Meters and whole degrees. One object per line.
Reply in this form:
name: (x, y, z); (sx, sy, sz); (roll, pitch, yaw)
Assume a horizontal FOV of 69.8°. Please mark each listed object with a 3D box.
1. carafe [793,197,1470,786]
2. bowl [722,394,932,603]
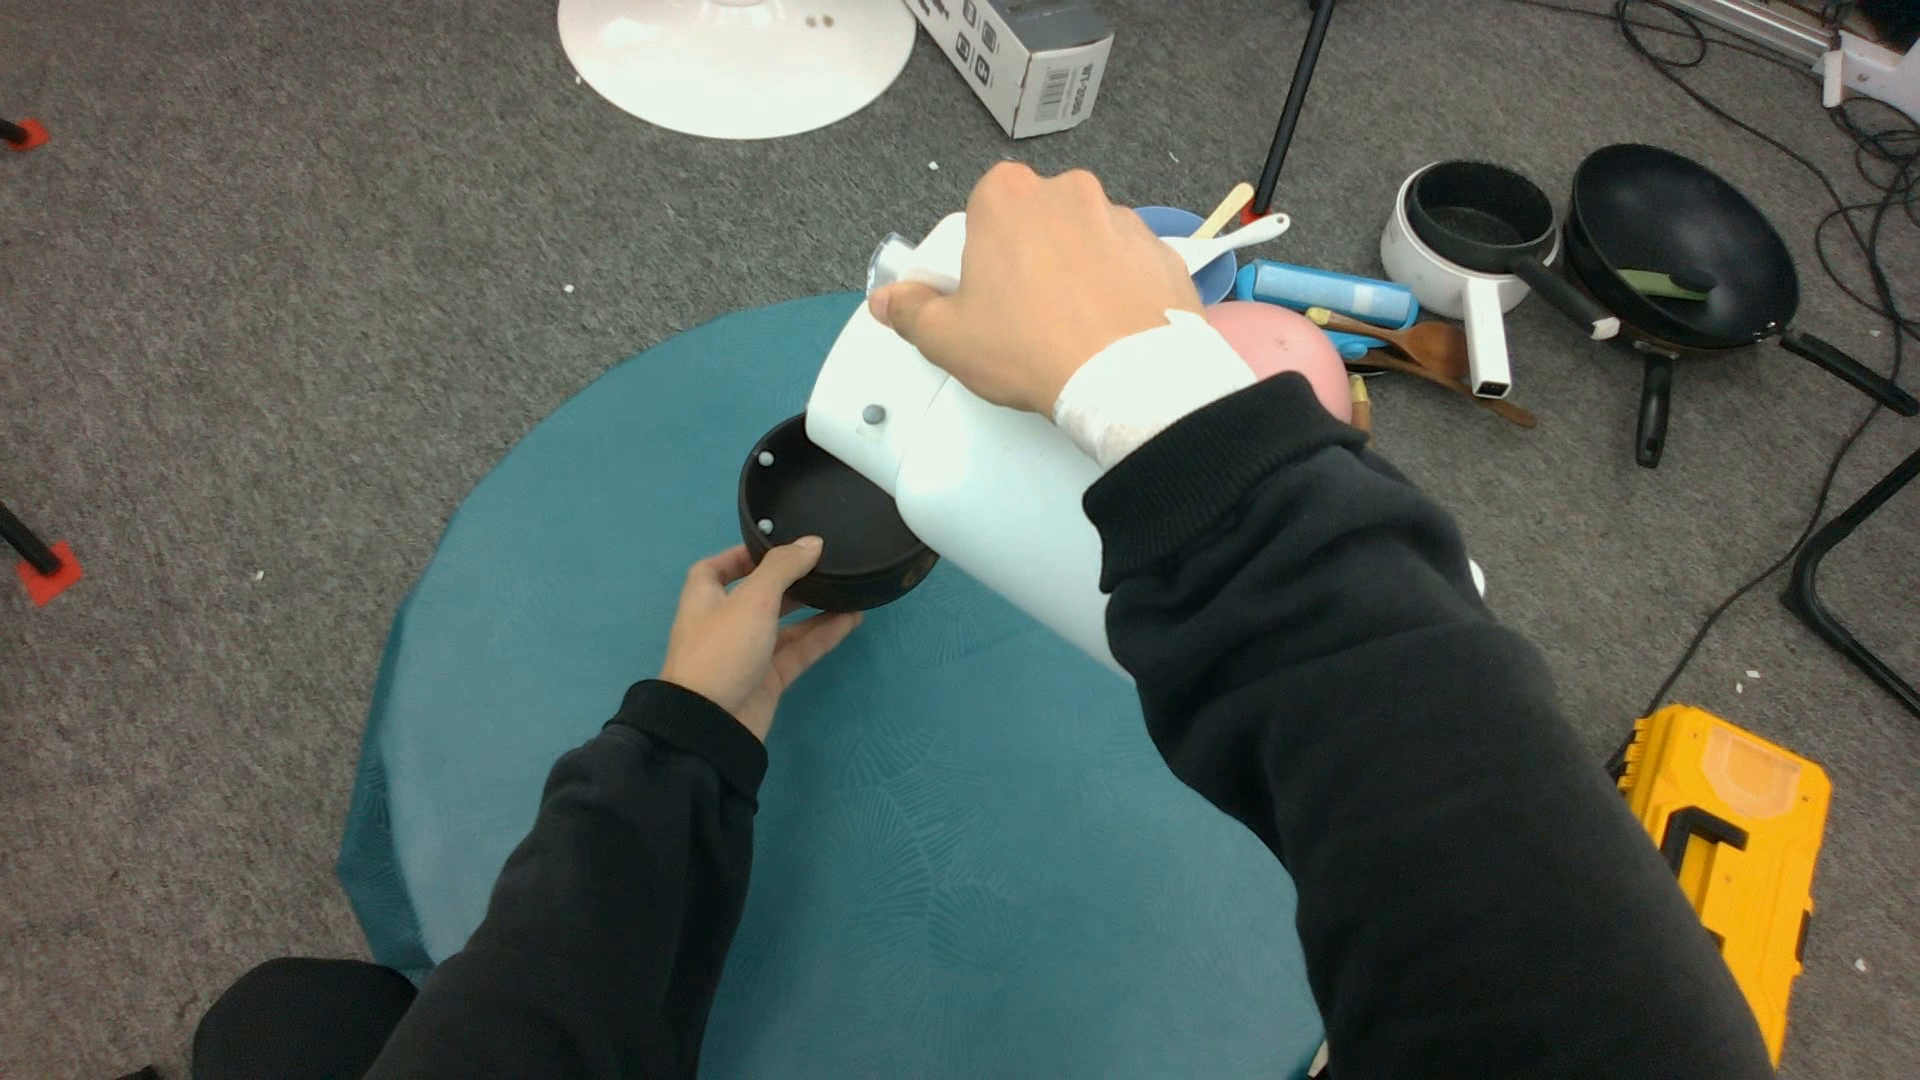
carafe: (0.069, -0.026, 0.559); (0.269, 0.172, 0.124); (35, 64, 10)
bowl: (-0.071, -0.016, 0.761); (0.118, 0.069, 0.118); (3, 56, -5)
